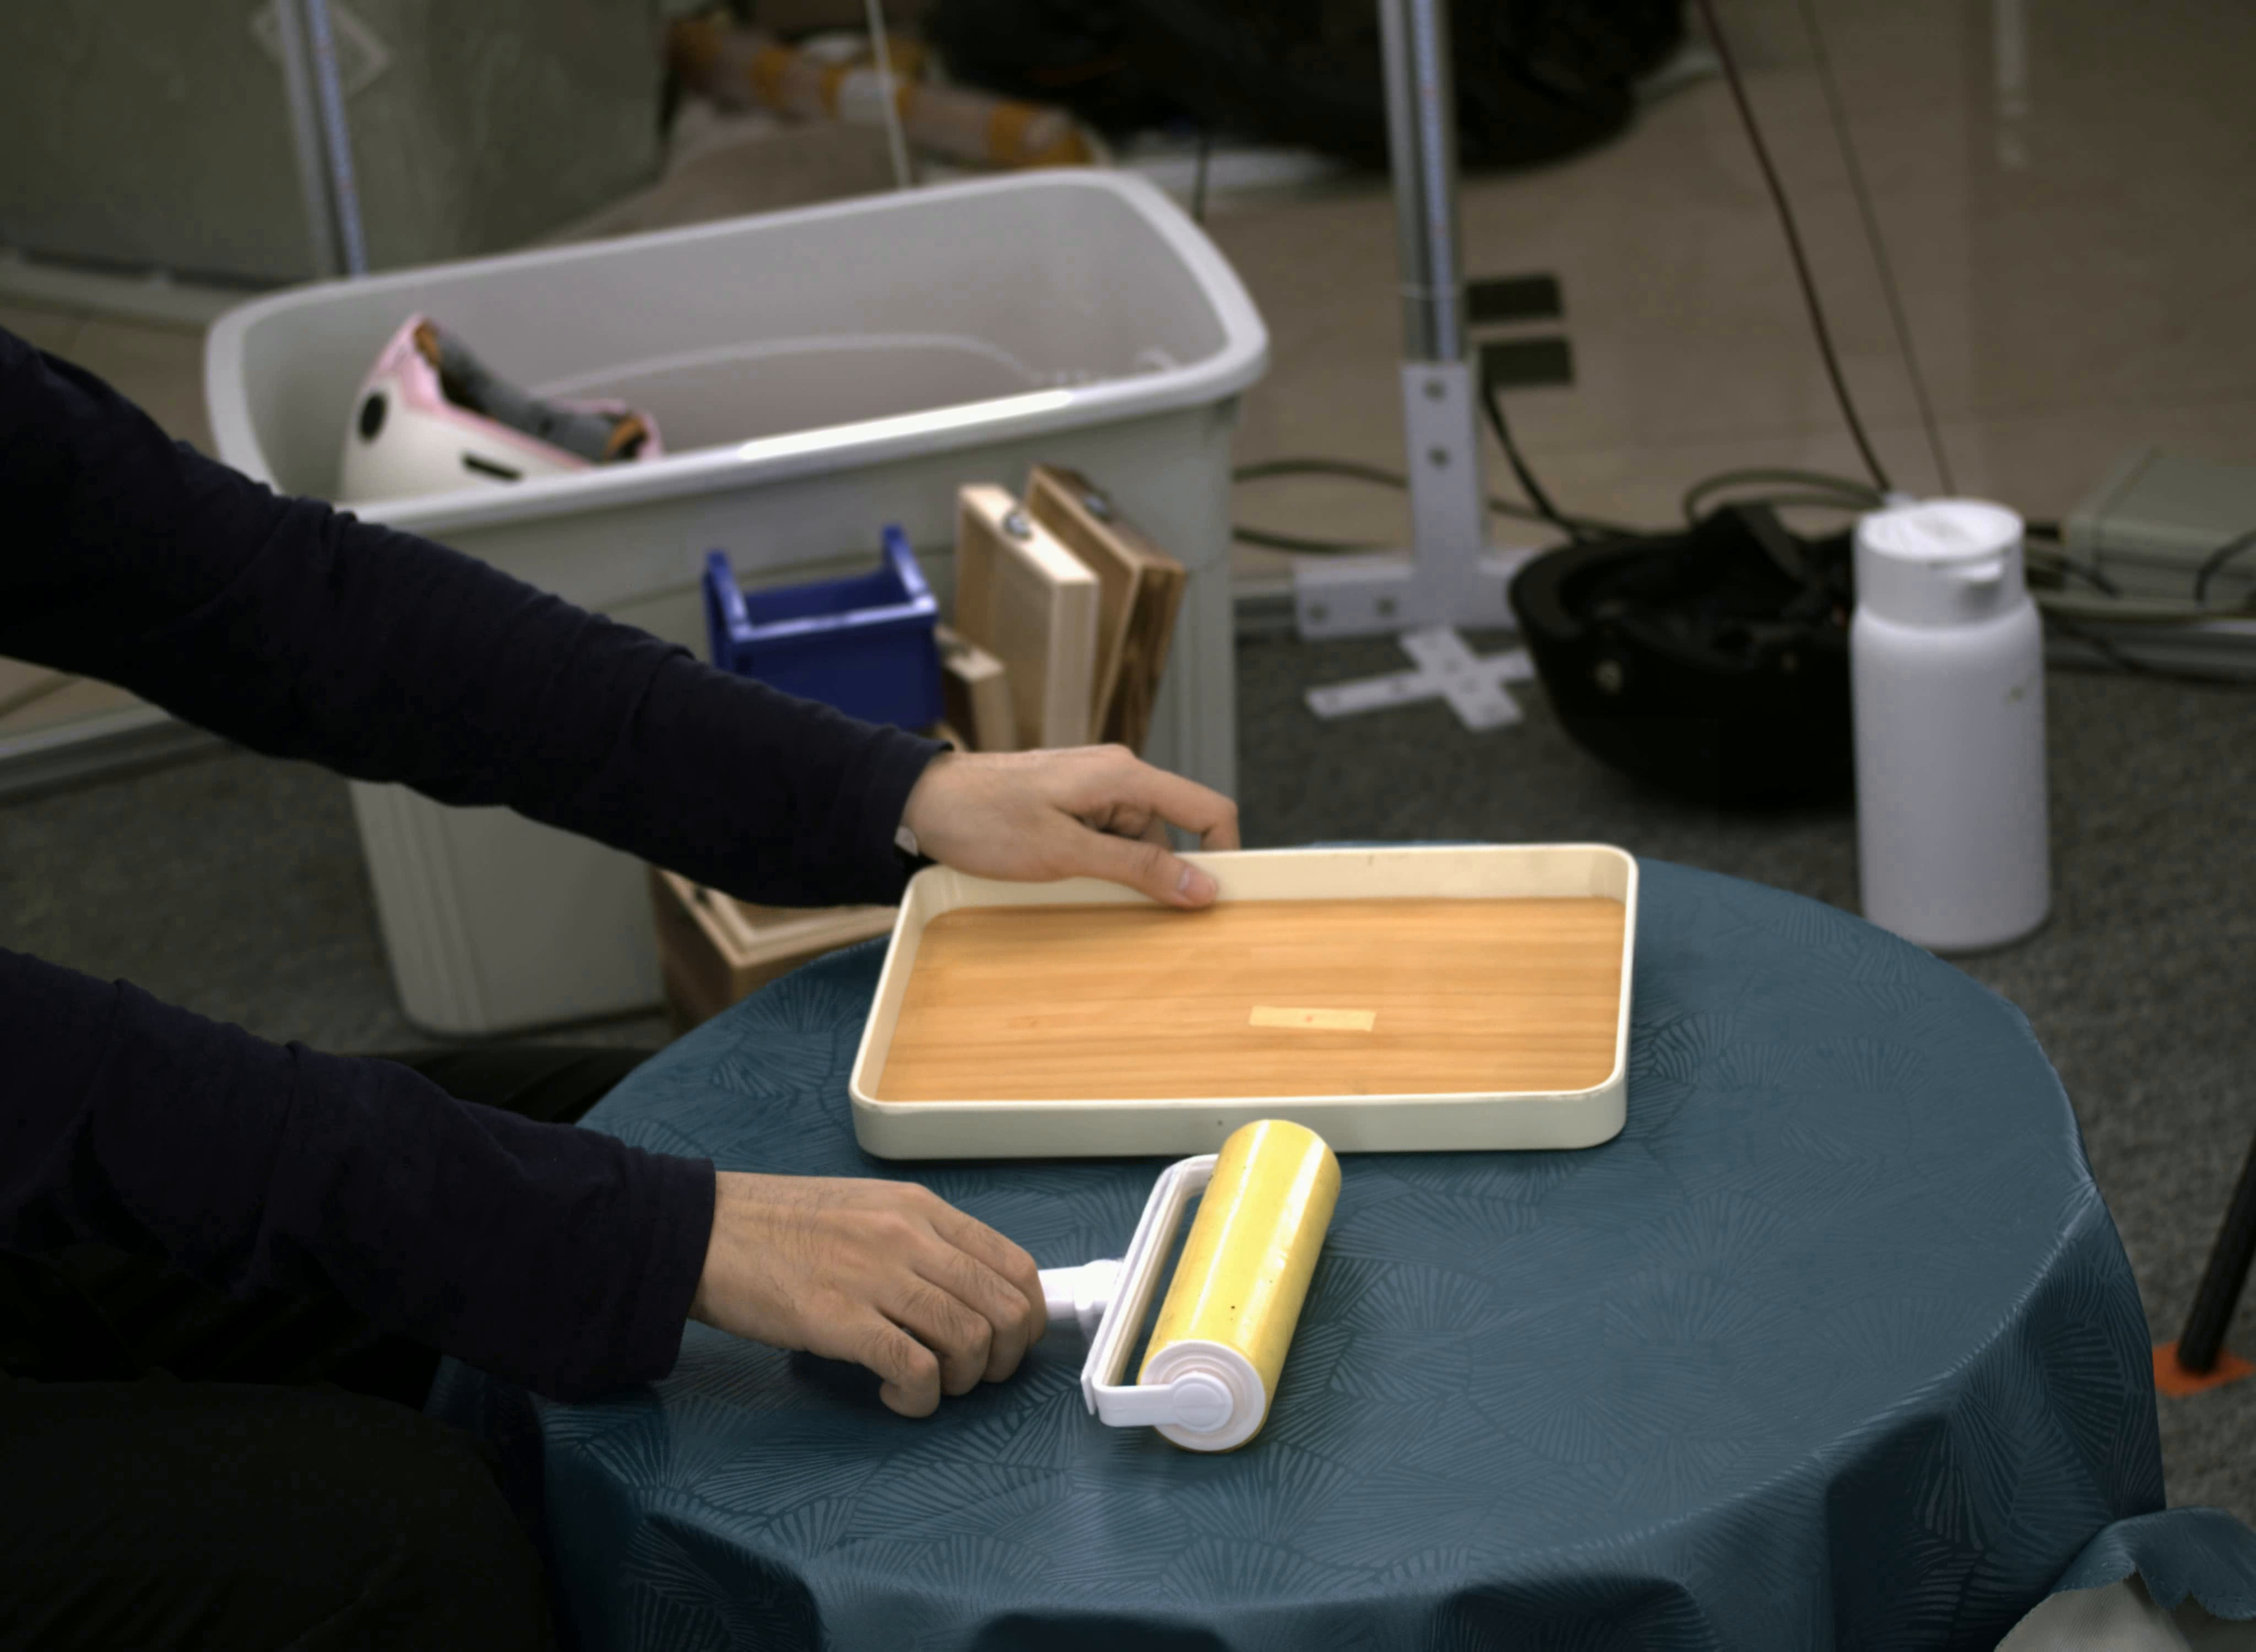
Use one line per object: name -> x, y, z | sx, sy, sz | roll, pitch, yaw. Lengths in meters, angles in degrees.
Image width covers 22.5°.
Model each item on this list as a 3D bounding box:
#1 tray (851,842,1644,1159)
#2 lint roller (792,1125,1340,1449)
tray -> 0.051, 0.068, 2.234 | 0.300, 0.028, 0.188 | -2, 30, 9
lint roller -> -0.029, 0.164, 2.045 | 0.191, 0.052, 0.172 | 2, 25, 10
